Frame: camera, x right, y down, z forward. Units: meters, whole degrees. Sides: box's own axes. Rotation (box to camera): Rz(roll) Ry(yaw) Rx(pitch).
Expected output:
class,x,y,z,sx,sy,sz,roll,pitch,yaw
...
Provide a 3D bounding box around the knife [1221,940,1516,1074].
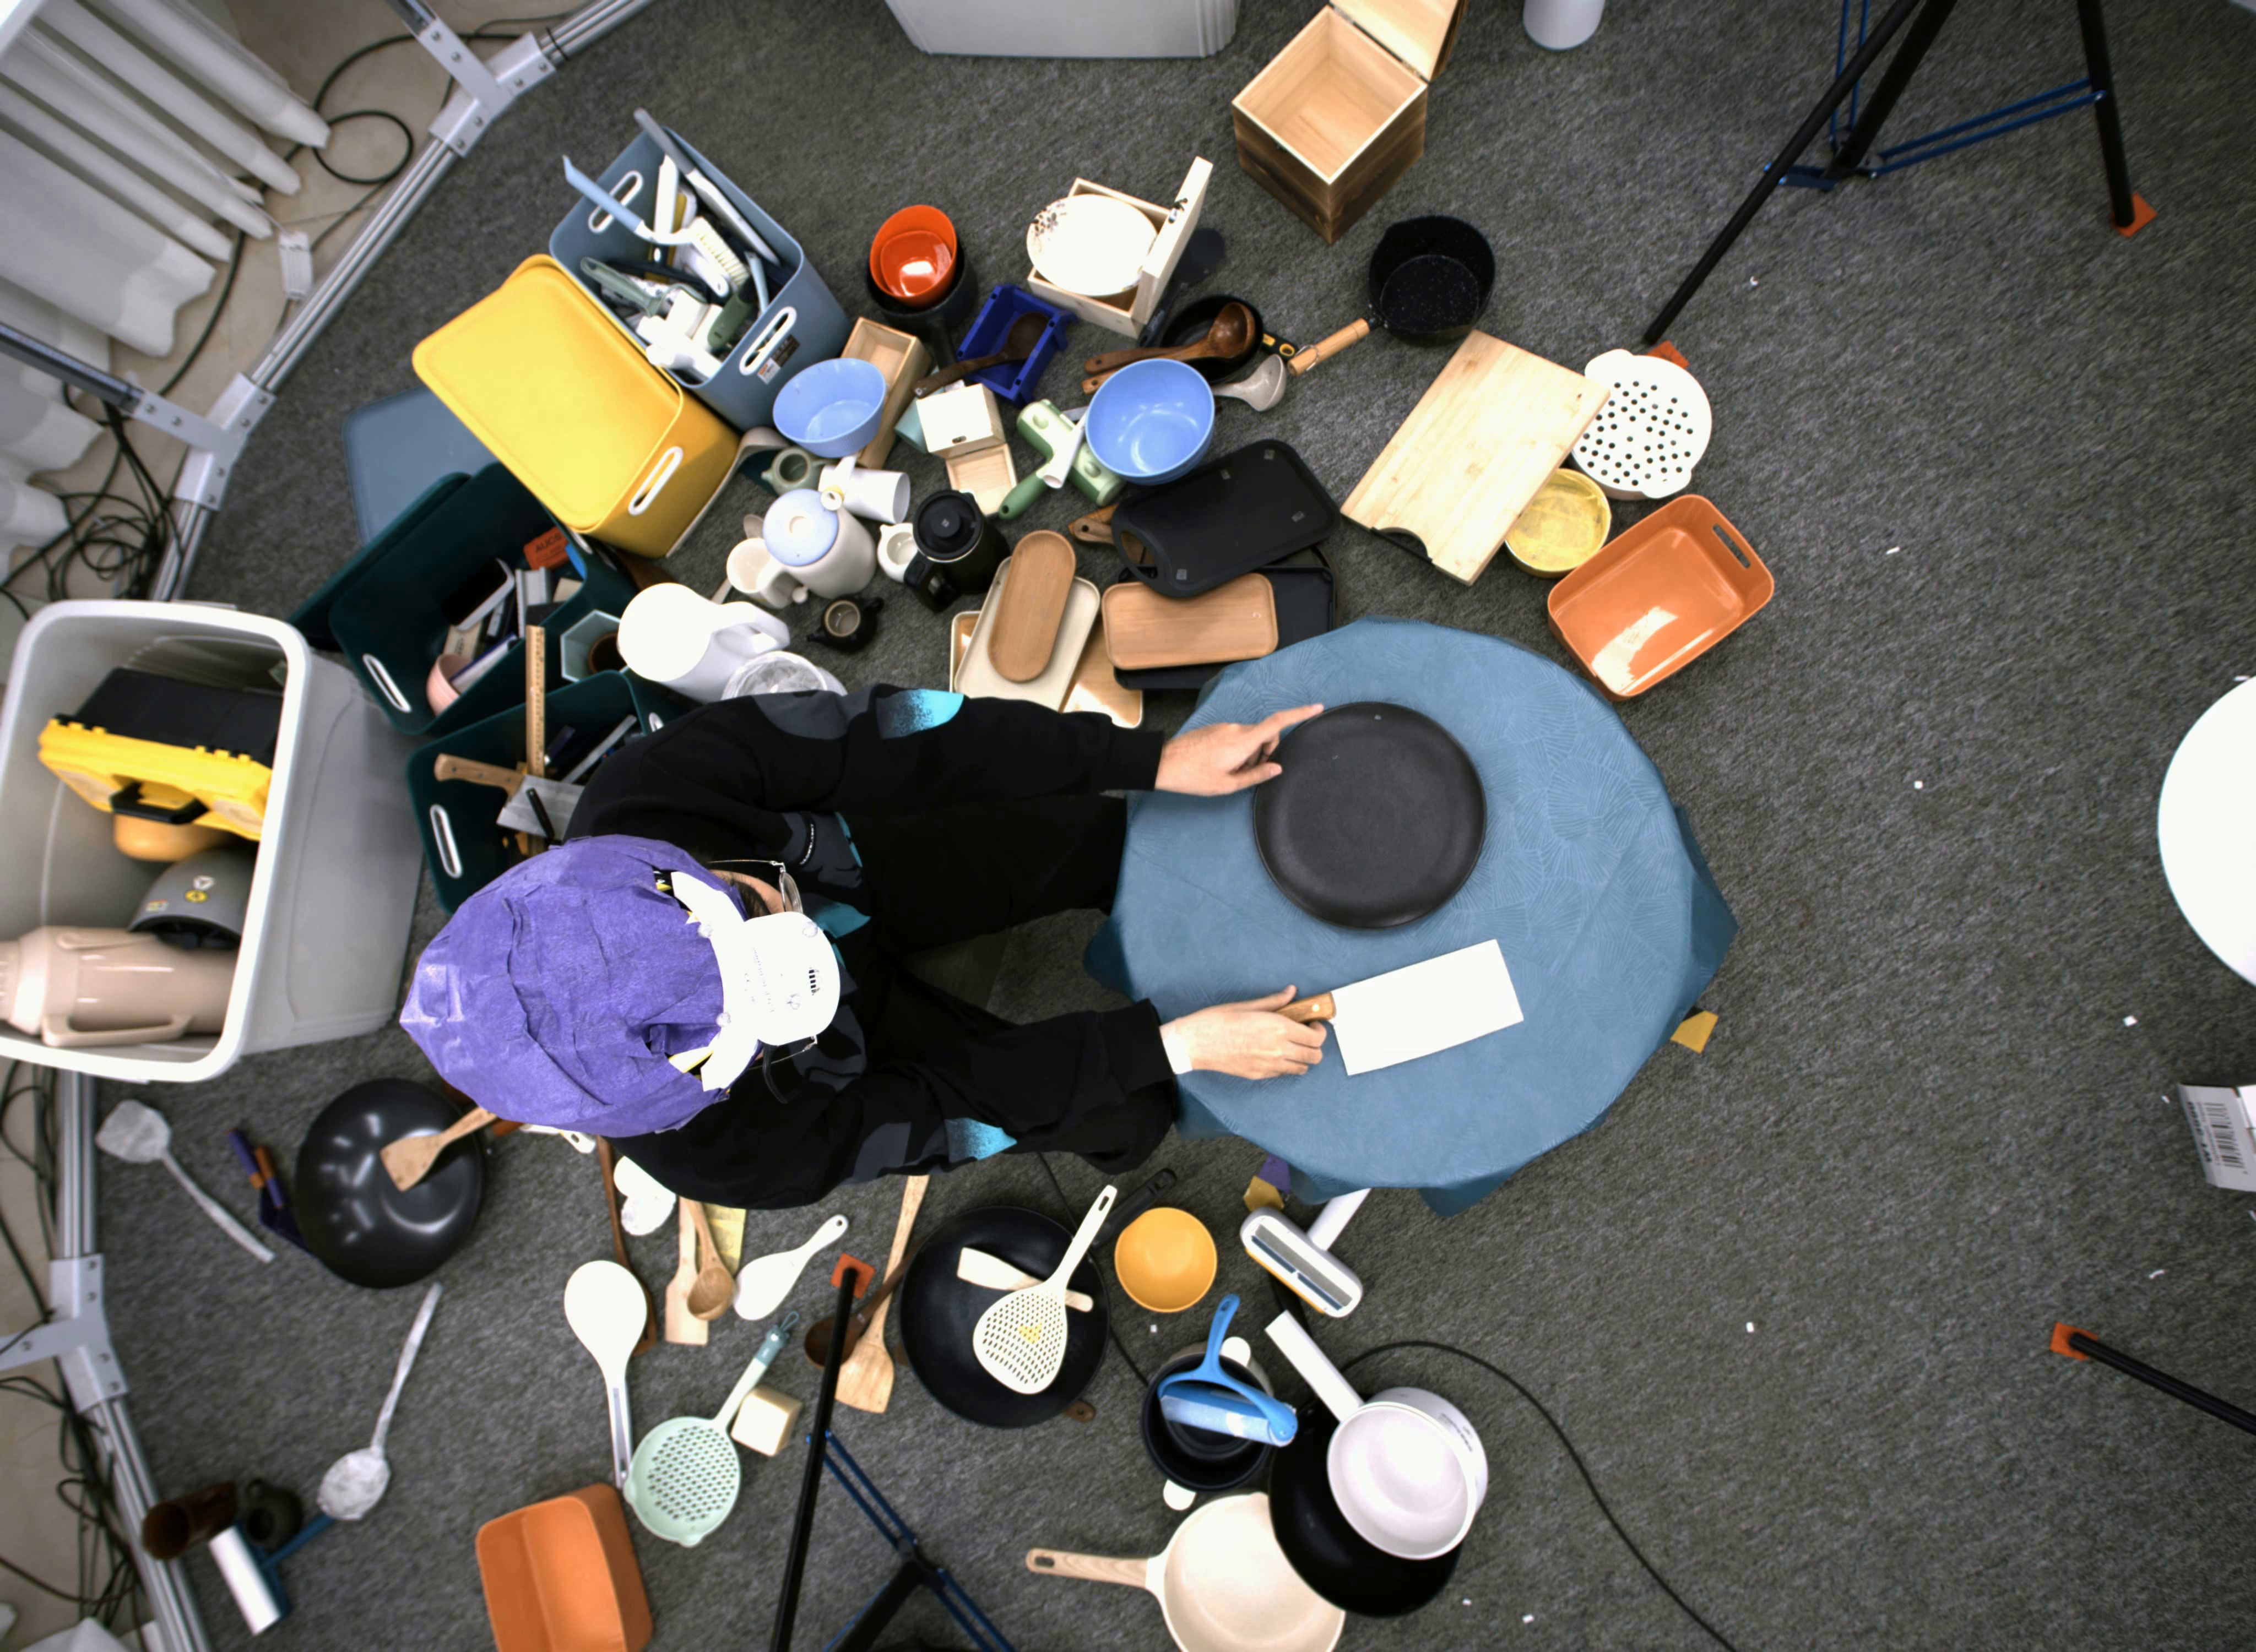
class,x,y,z,sx,sy,sz,roll,pitch,yaw
knife,0.253,0.204,1.448,0.307,0.021,0.092,-19,85,6

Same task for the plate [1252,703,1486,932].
class,x,y,z,sx,sy,sz,roll,pitch,yaw
plate,0.253,-0.010,1.455,0.245,0.023,0.243,-1,87,10
